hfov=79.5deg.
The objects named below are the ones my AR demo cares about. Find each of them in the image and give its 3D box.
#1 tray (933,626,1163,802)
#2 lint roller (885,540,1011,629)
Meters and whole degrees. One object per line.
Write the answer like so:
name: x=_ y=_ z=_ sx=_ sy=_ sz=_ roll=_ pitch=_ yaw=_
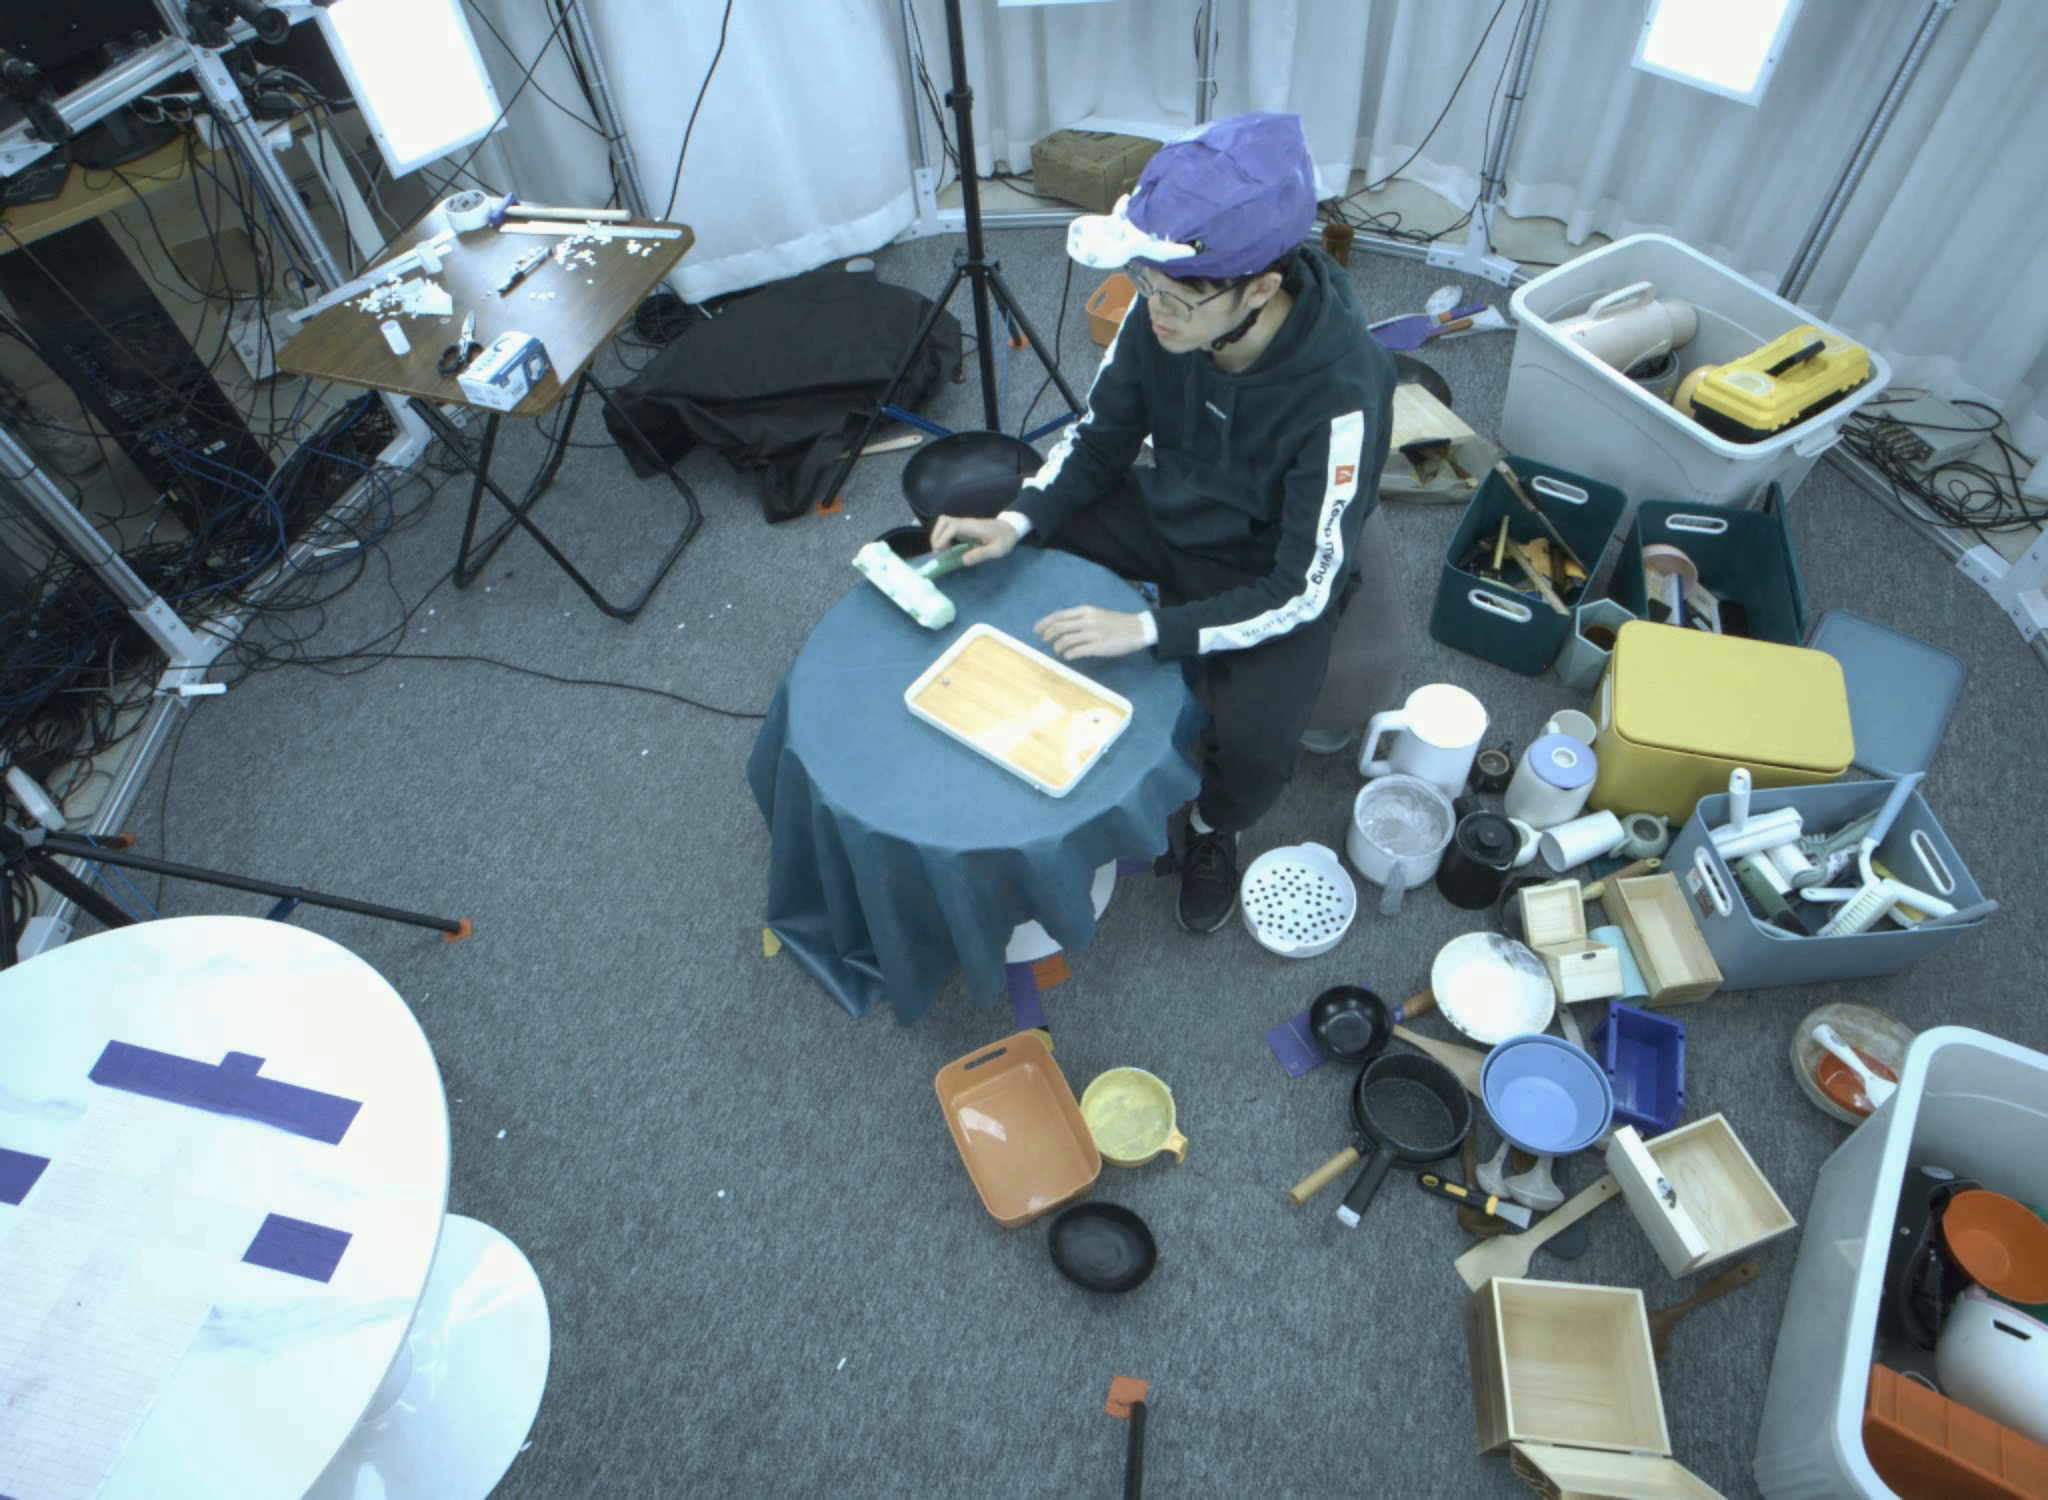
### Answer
tray: x=0.034 y=-0.059 z=1.807 sx=0.295 sy=0.028 sz=0.193 roll=32 pitch=61 yaw=22
lint roller: x=-0.098 y=-0.299 z=1.951 sx=0.184 sy=0.083 sz=0.195 roll=-37 pitch=61 yaw=-16
